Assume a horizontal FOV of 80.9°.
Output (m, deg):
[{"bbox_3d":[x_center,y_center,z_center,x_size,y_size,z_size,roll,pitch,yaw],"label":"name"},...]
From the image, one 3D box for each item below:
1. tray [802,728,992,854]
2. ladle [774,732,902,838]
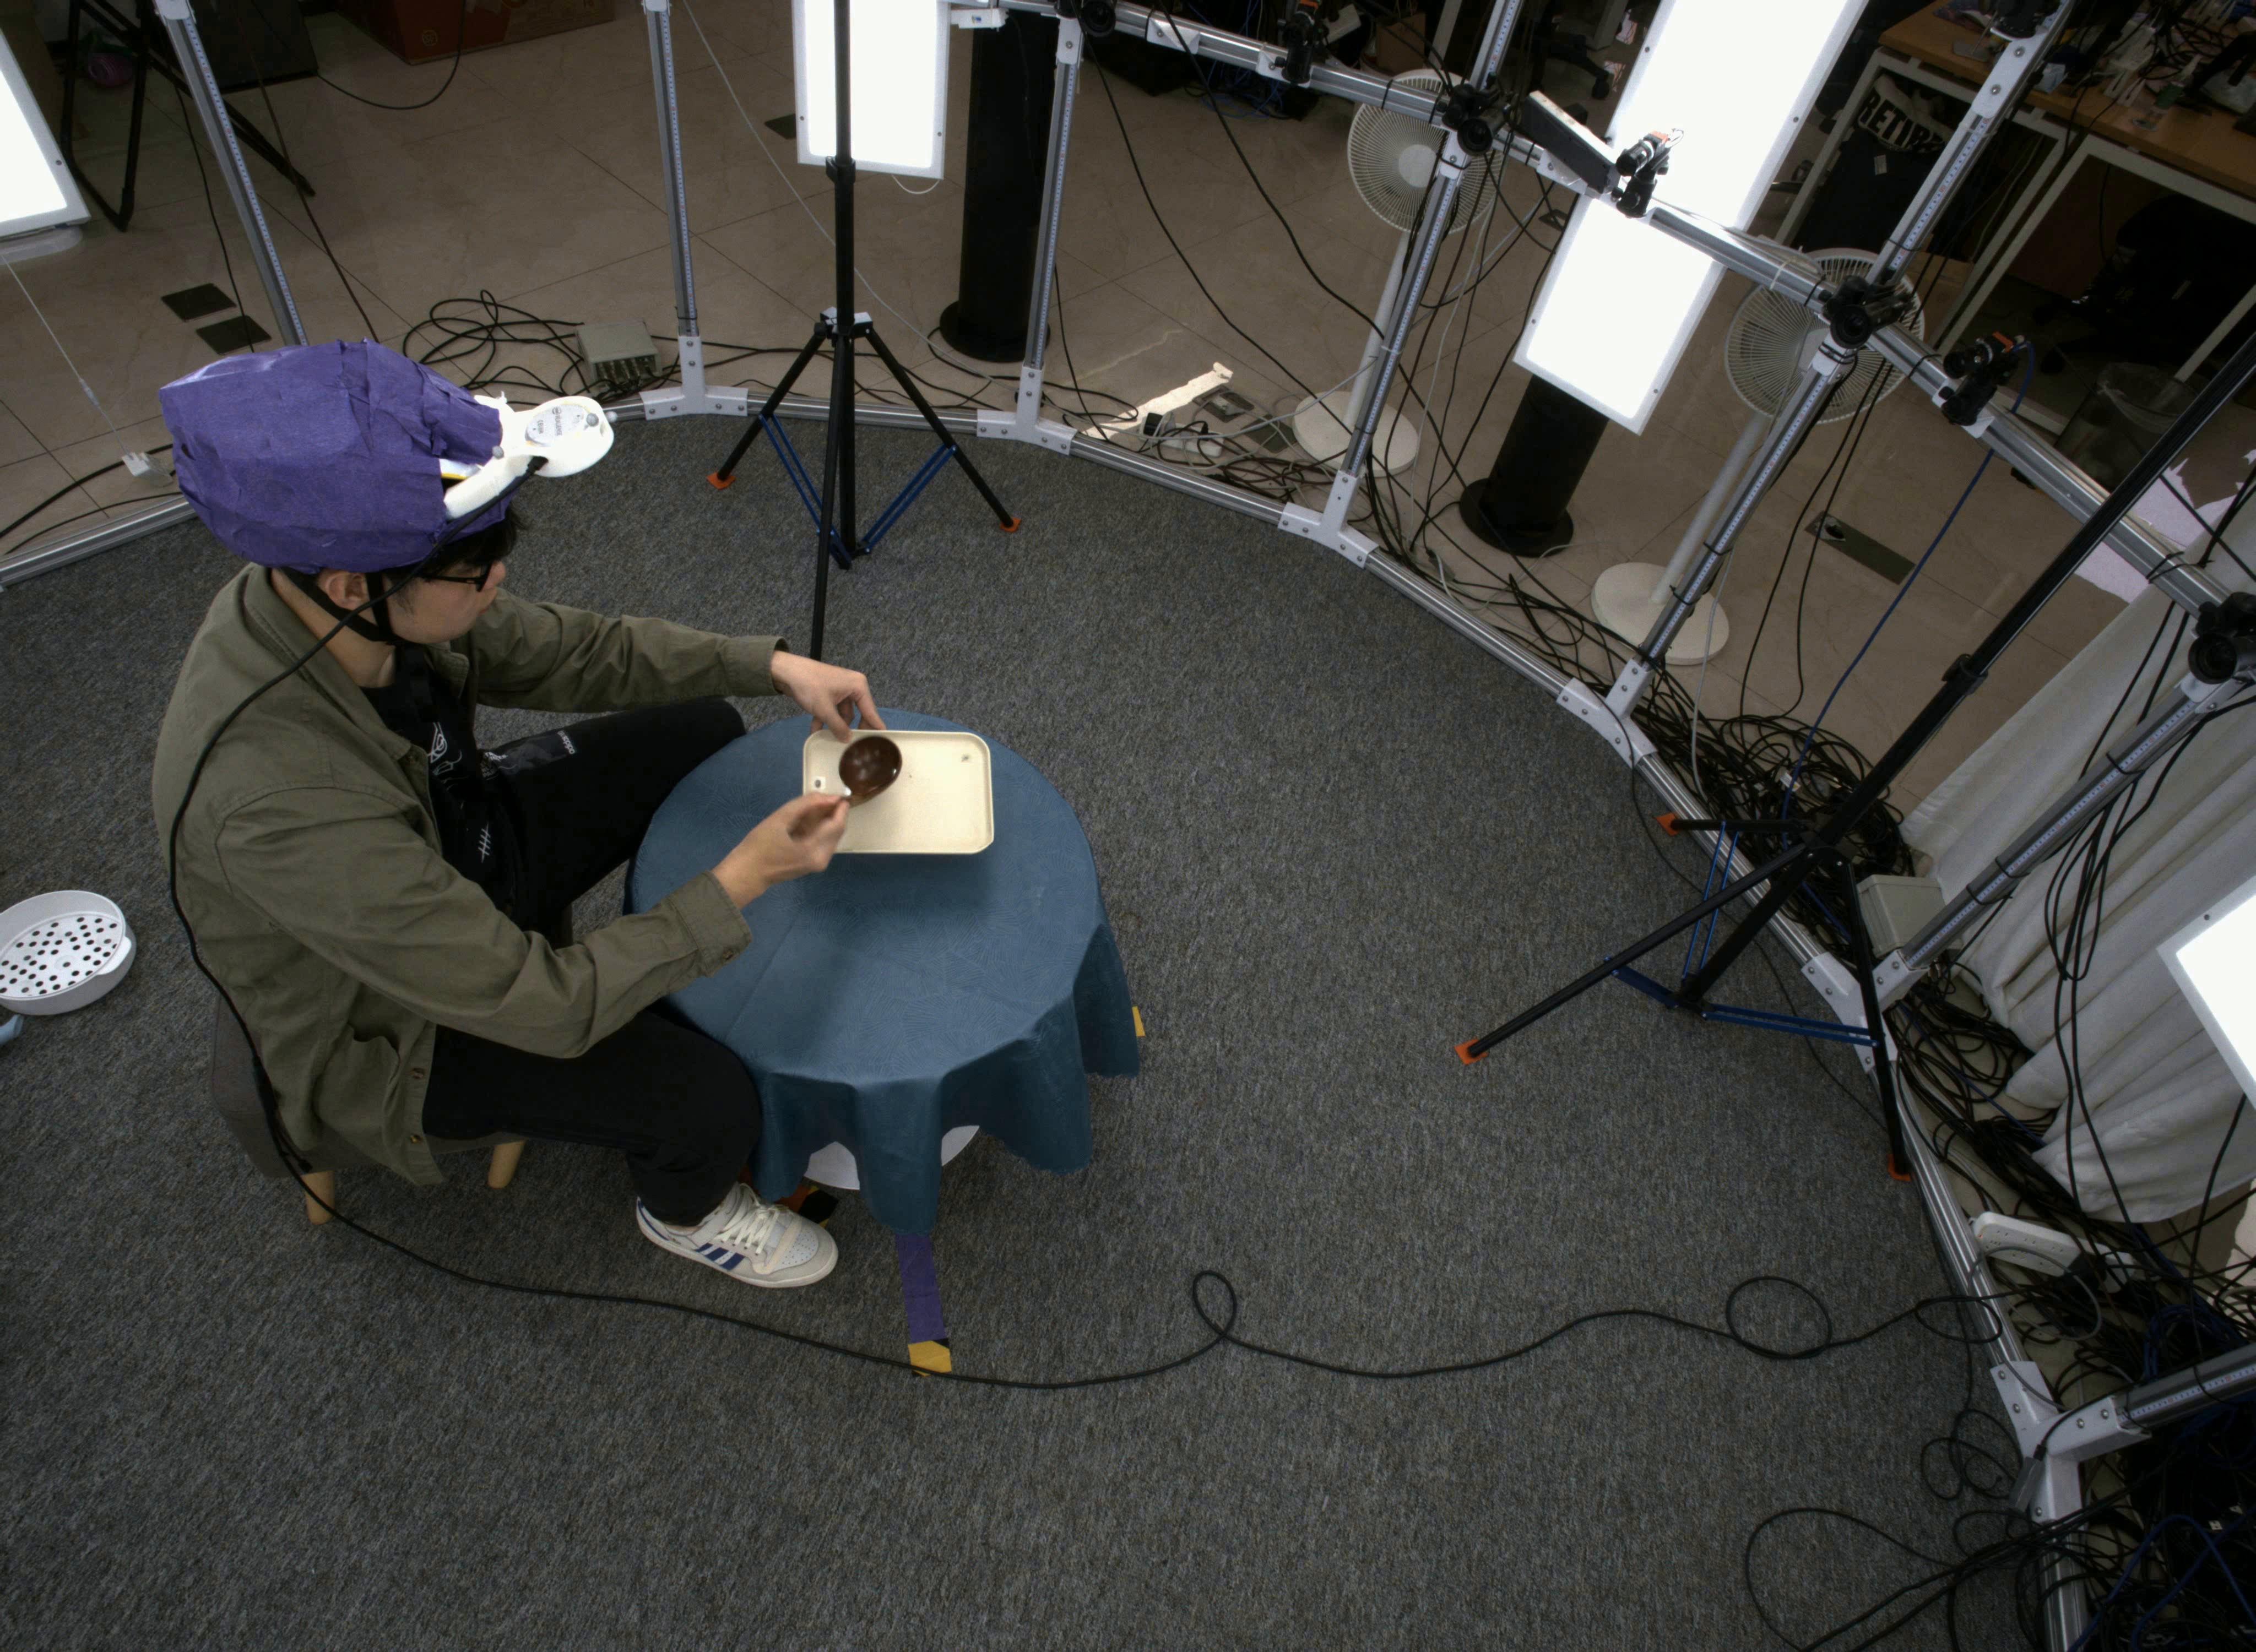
[{"bbox_3d":[-0.295,-0.044,1.665,0.240,0.017,0.170,1,70,-17],"label":"tray"},{"bbox_3d":[-0.342,-0.055,1.510,0.080,0.078,0.274,-11,9,16],"label":"ladle"}]
